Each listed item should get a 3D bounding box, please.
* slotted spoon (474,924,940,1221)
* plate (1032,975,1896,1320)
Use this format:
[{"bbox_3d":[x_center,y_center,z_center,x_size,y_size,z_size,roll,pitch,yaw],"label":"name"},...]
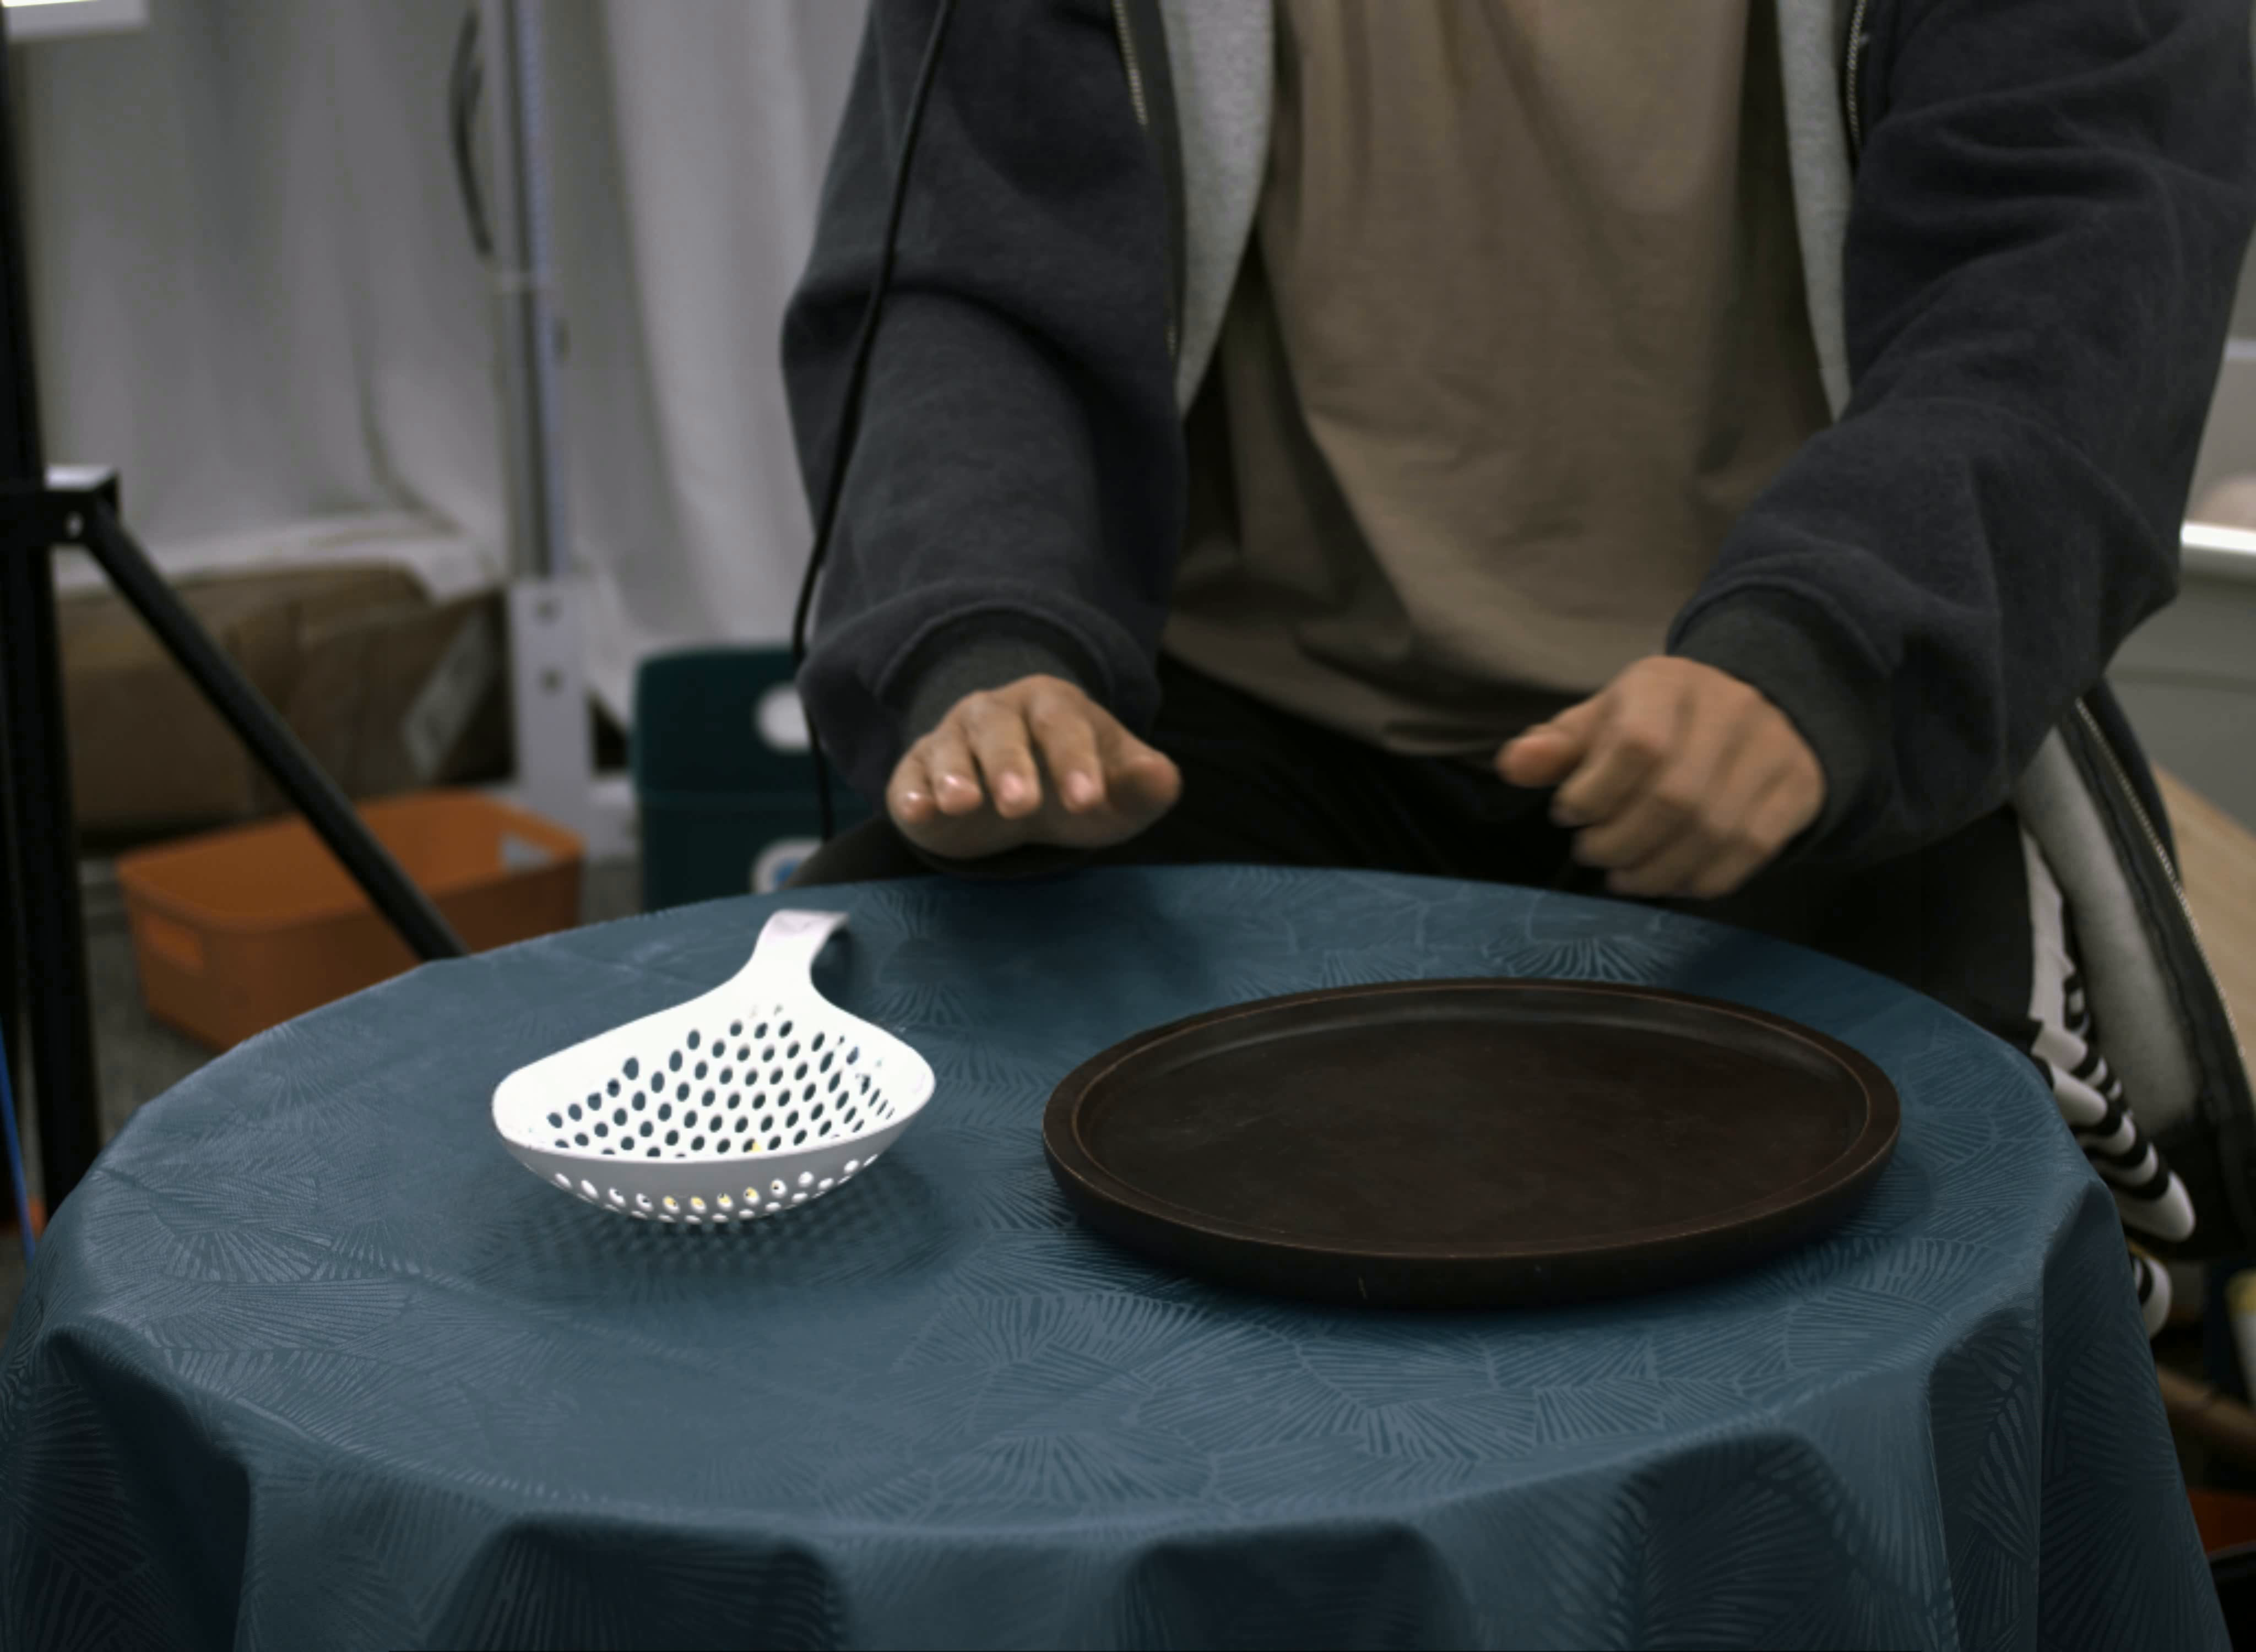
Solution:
[{"bbox_3d":[-0.115,0.063,1.664,0.137,0.050,0.348,-4,16,5],"label":"slotted spoon"},{"bbox_3d":[0.099,0.092,1.557,0.253,0.029,0.256,-4,15,0],"label":"plate"}]
